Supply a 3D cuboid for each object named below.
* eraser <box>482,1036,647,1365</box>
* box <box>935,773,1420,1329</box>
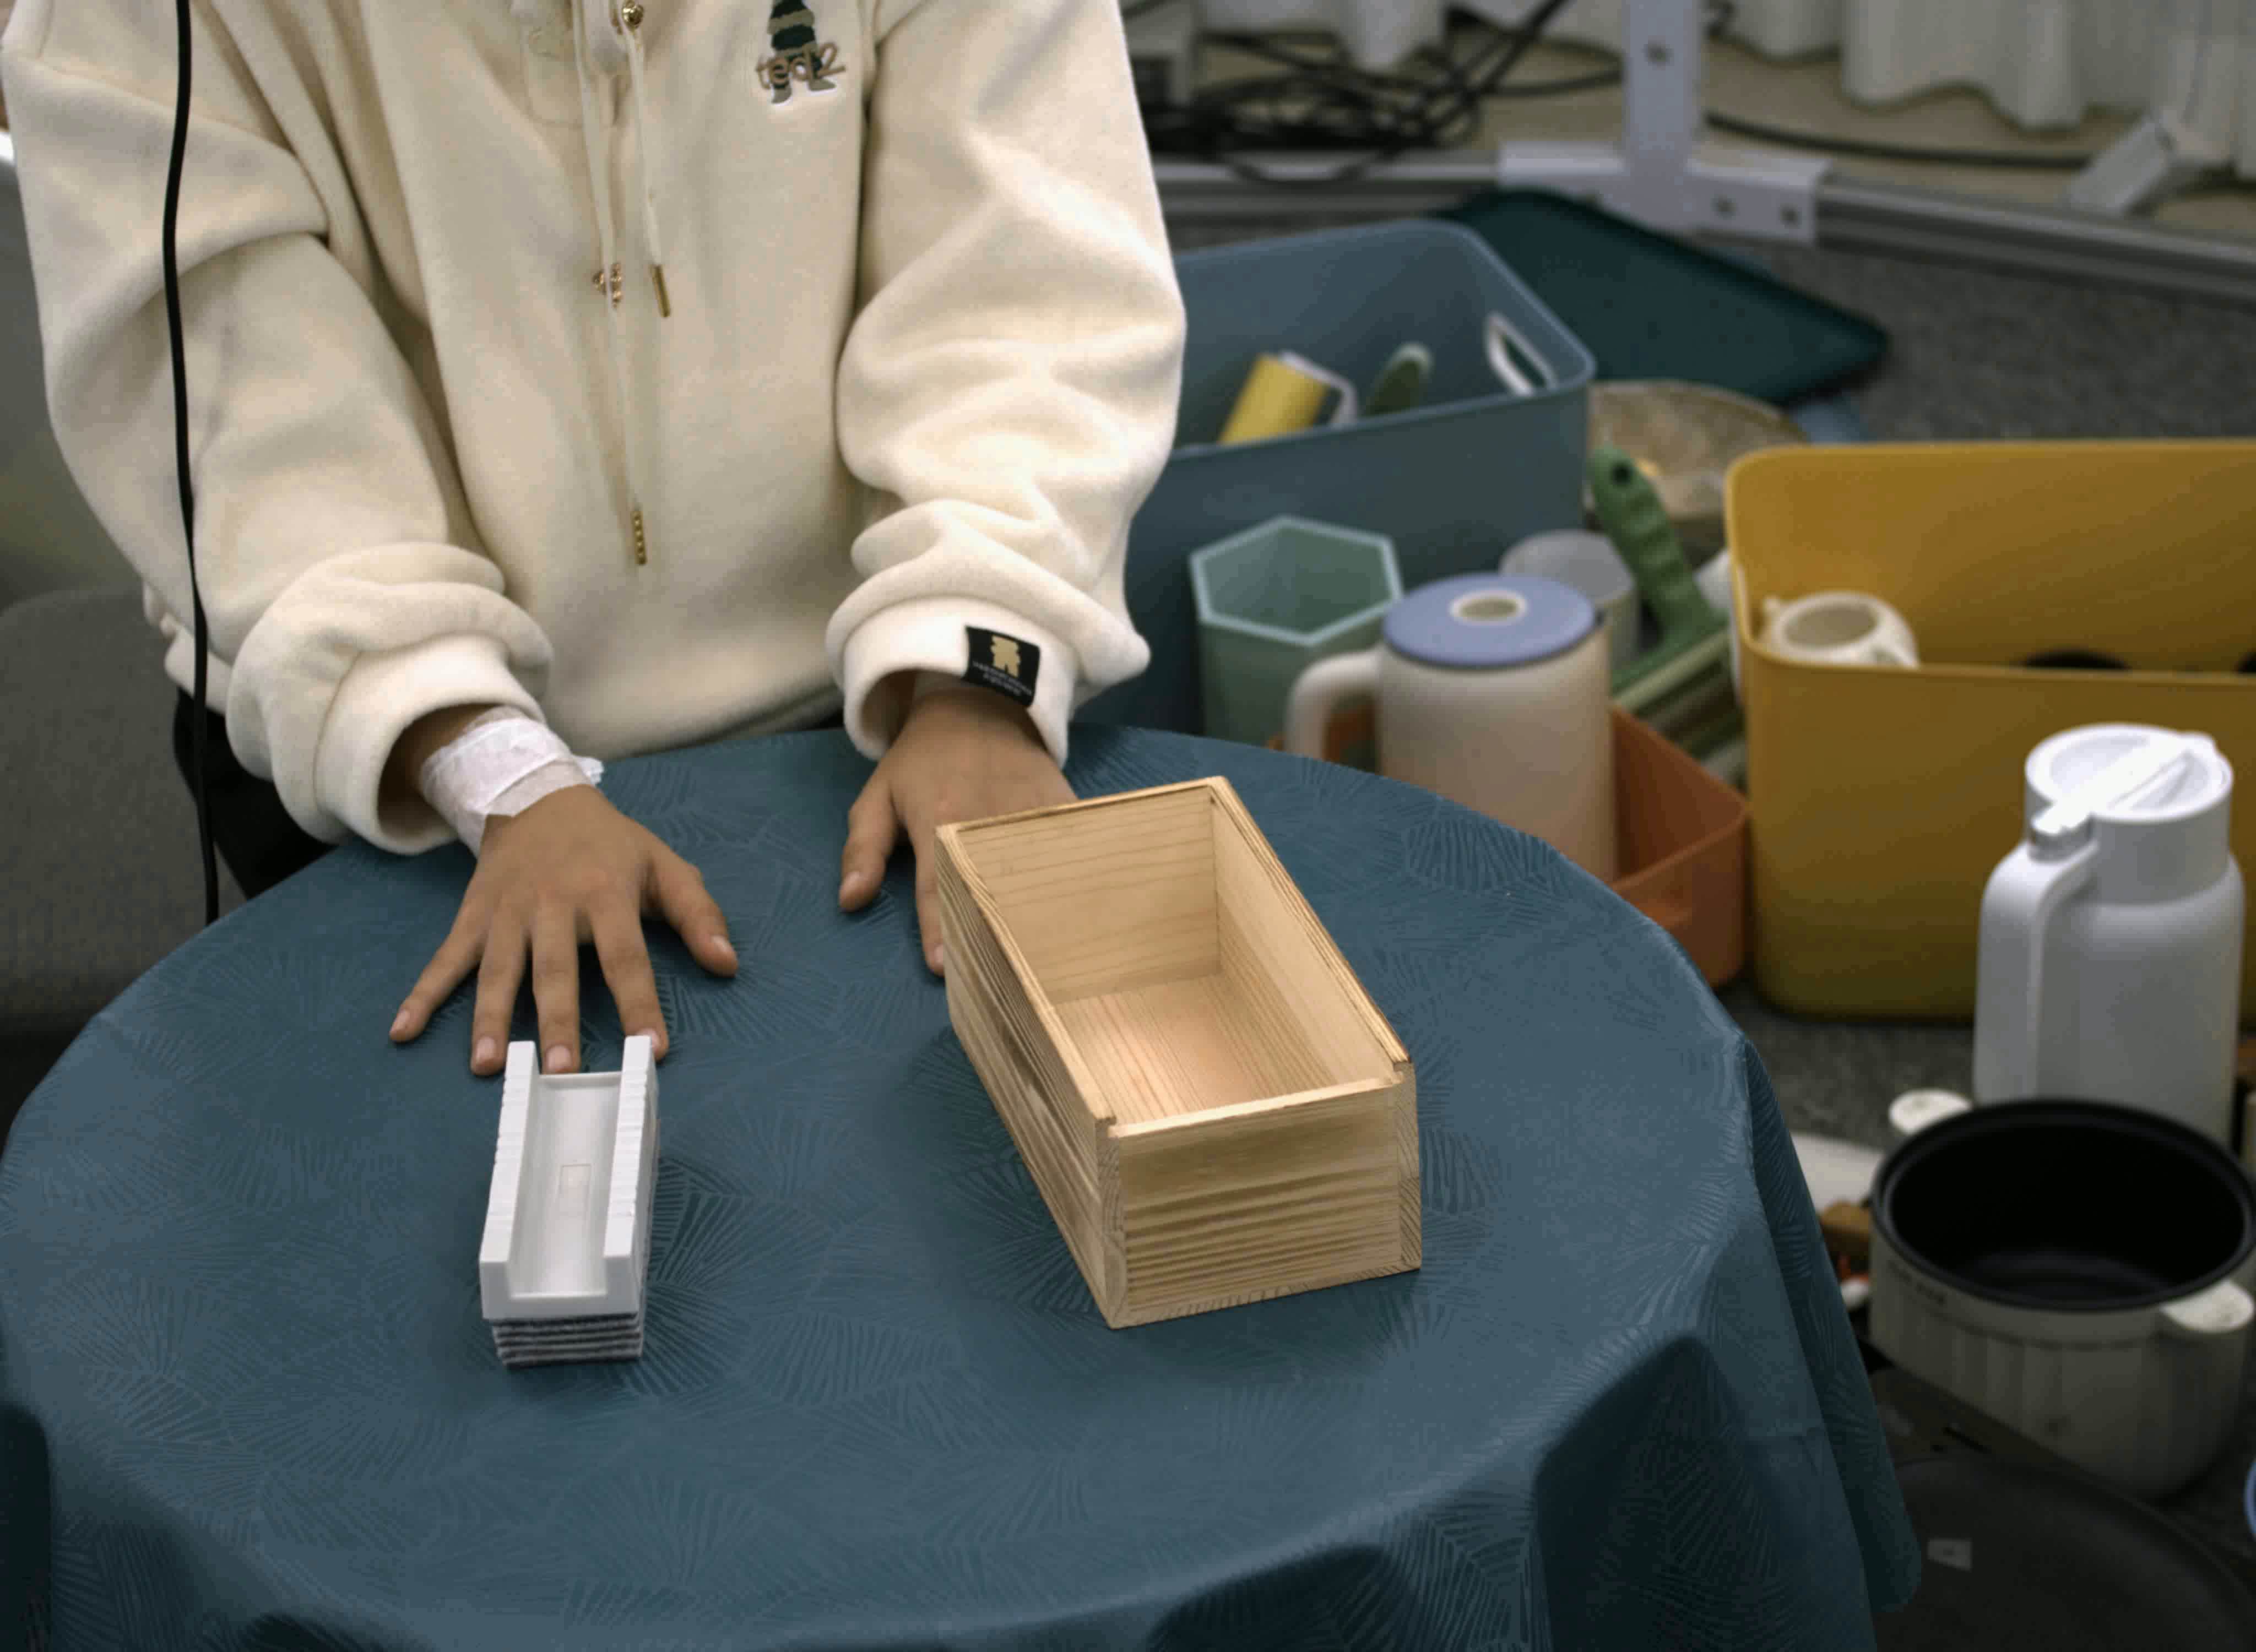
[{"bbox_3d":[-0.182,0.121,1.830,0.049,0.046,0.136,-6,29,-1],"label":"eraser"},{"bbox_3d":[0.014,0.071,1.873,0.107,0.079,0.213,-10,29,-14],"label":"box"}]
